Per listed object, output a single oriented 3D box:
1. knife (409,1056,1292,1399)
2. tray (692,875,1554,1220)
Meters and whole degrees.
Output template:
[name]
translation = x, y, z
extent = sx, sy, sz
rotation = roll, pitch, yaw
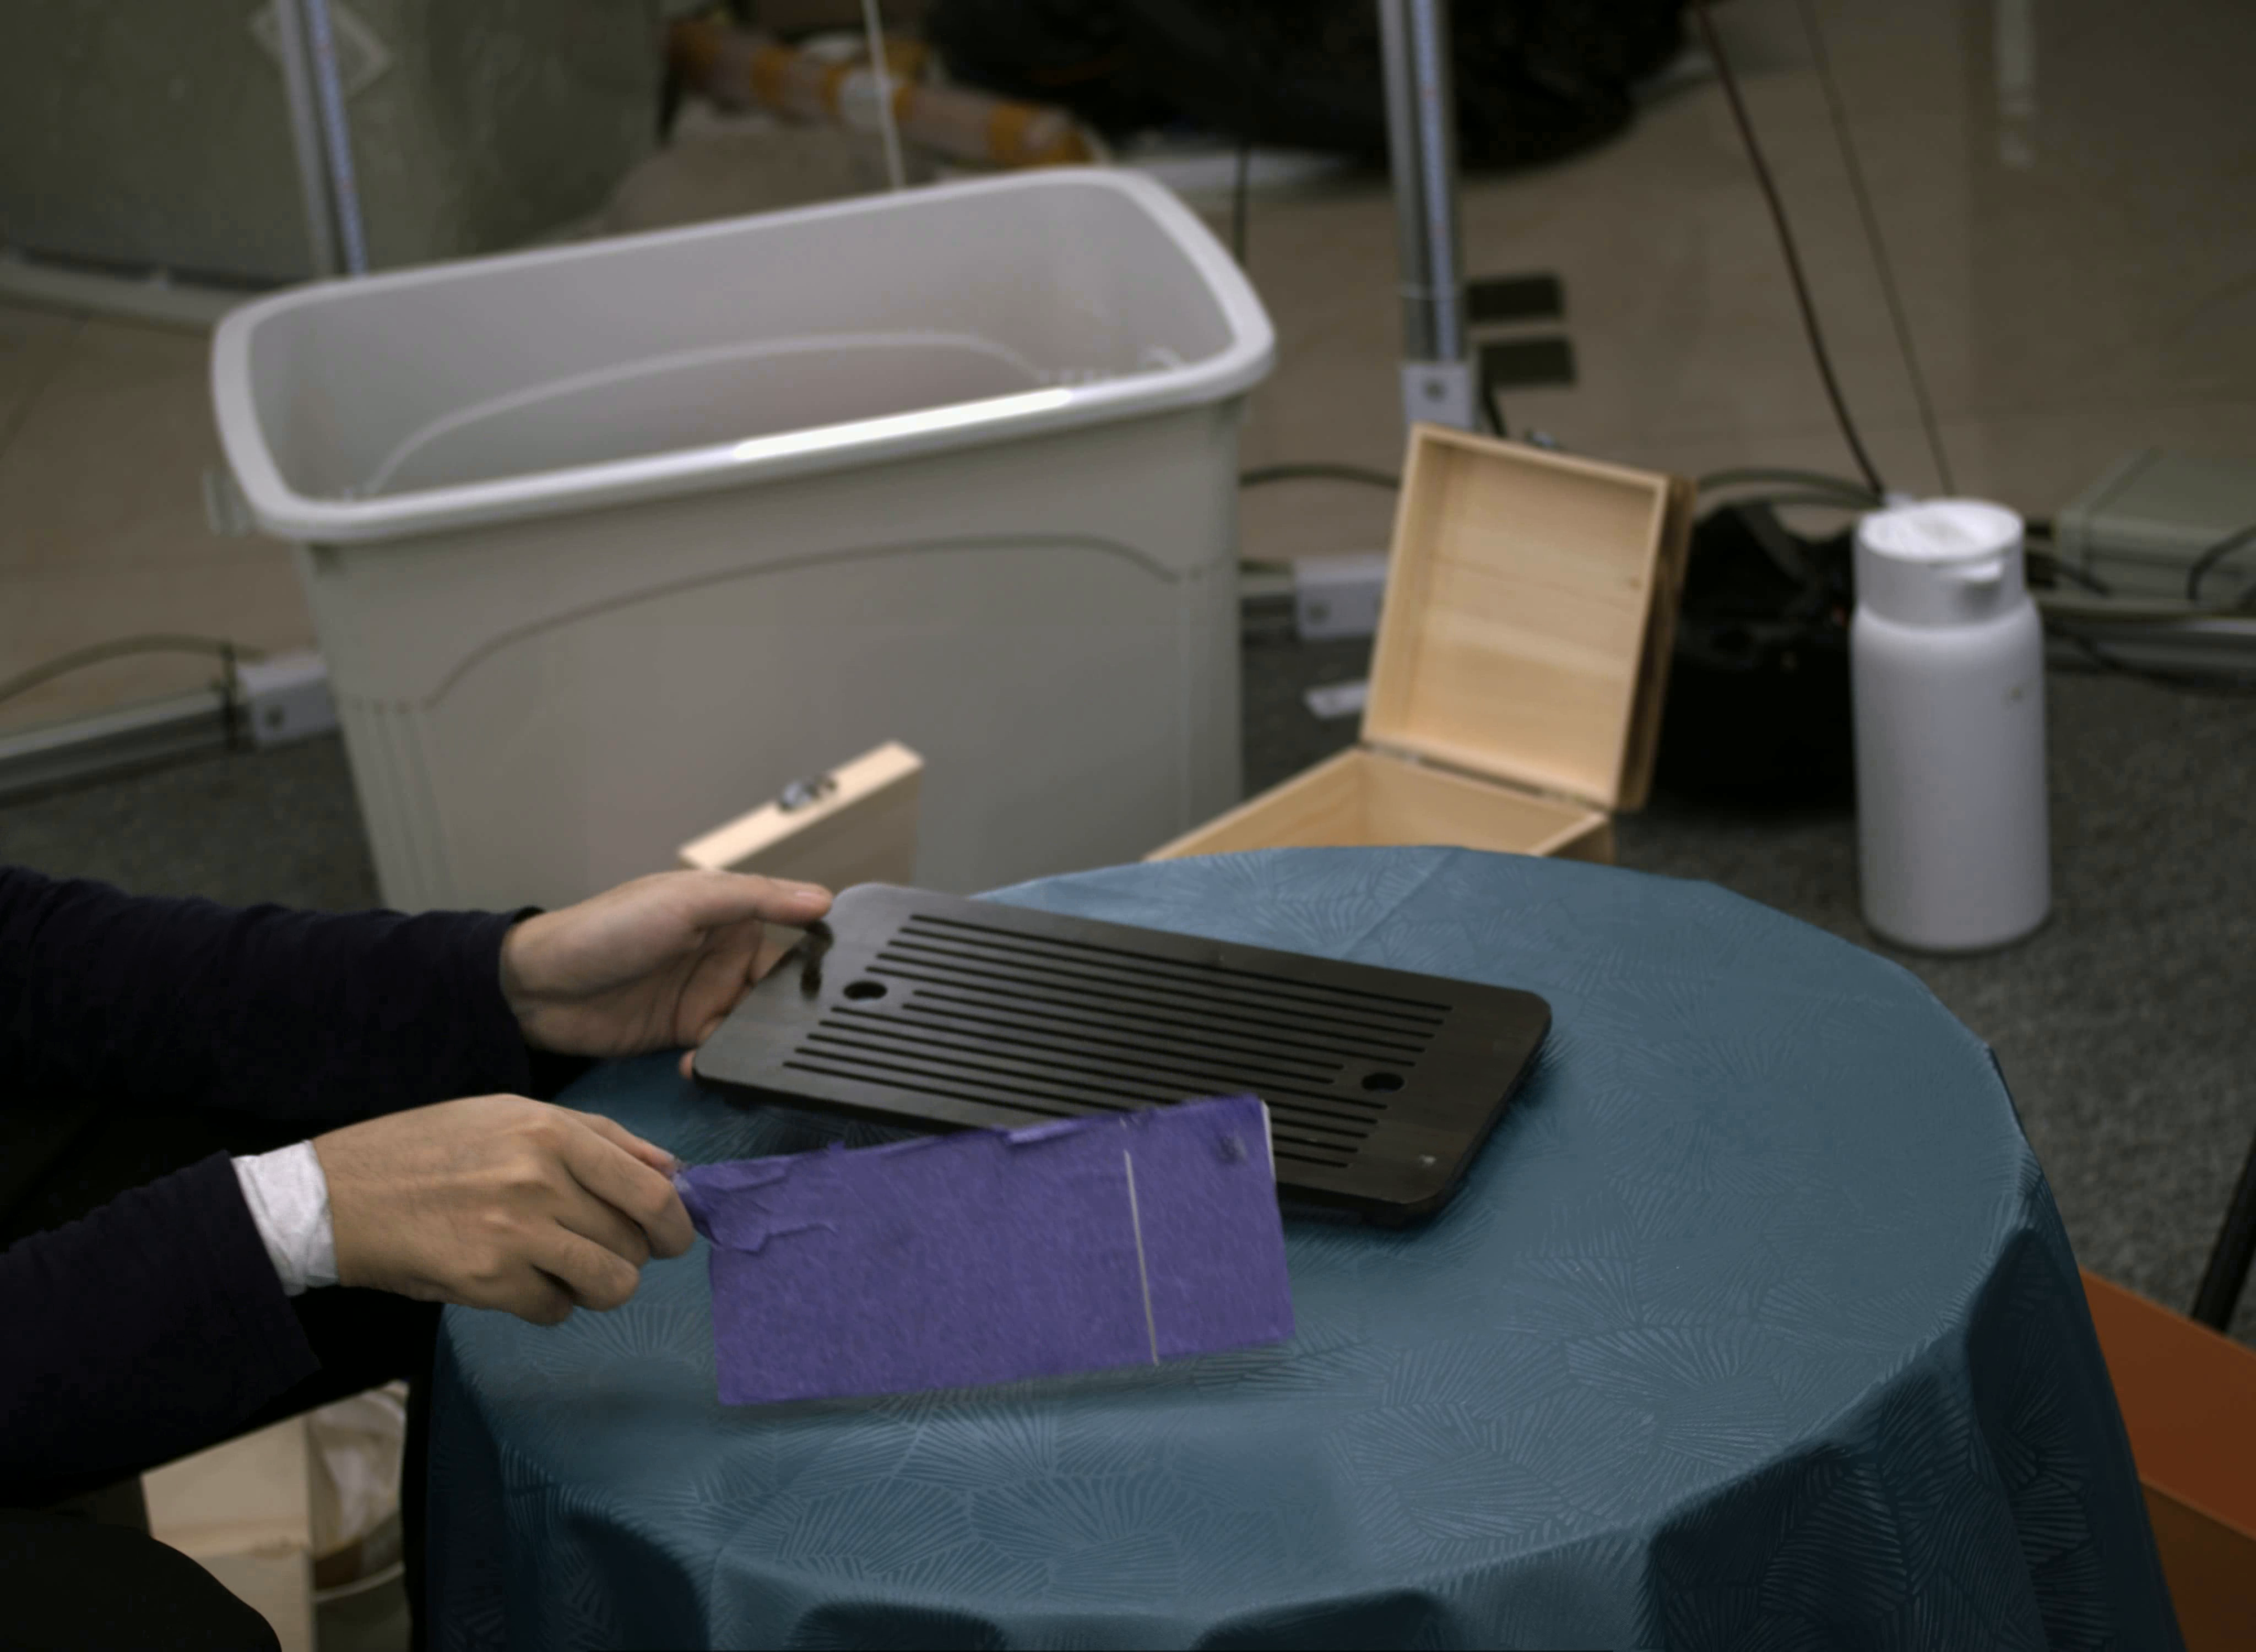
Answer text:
[knife]
translation = -0.100, 0.153, 2.023
extent = 0.315, 0.103, 0.032
rotation = -9, -17, 7
[tray]
translation = -0.001, 0.085, 2.211
extent = 0.305, 0.019, 0.168
rotation = 10, 30, 19
